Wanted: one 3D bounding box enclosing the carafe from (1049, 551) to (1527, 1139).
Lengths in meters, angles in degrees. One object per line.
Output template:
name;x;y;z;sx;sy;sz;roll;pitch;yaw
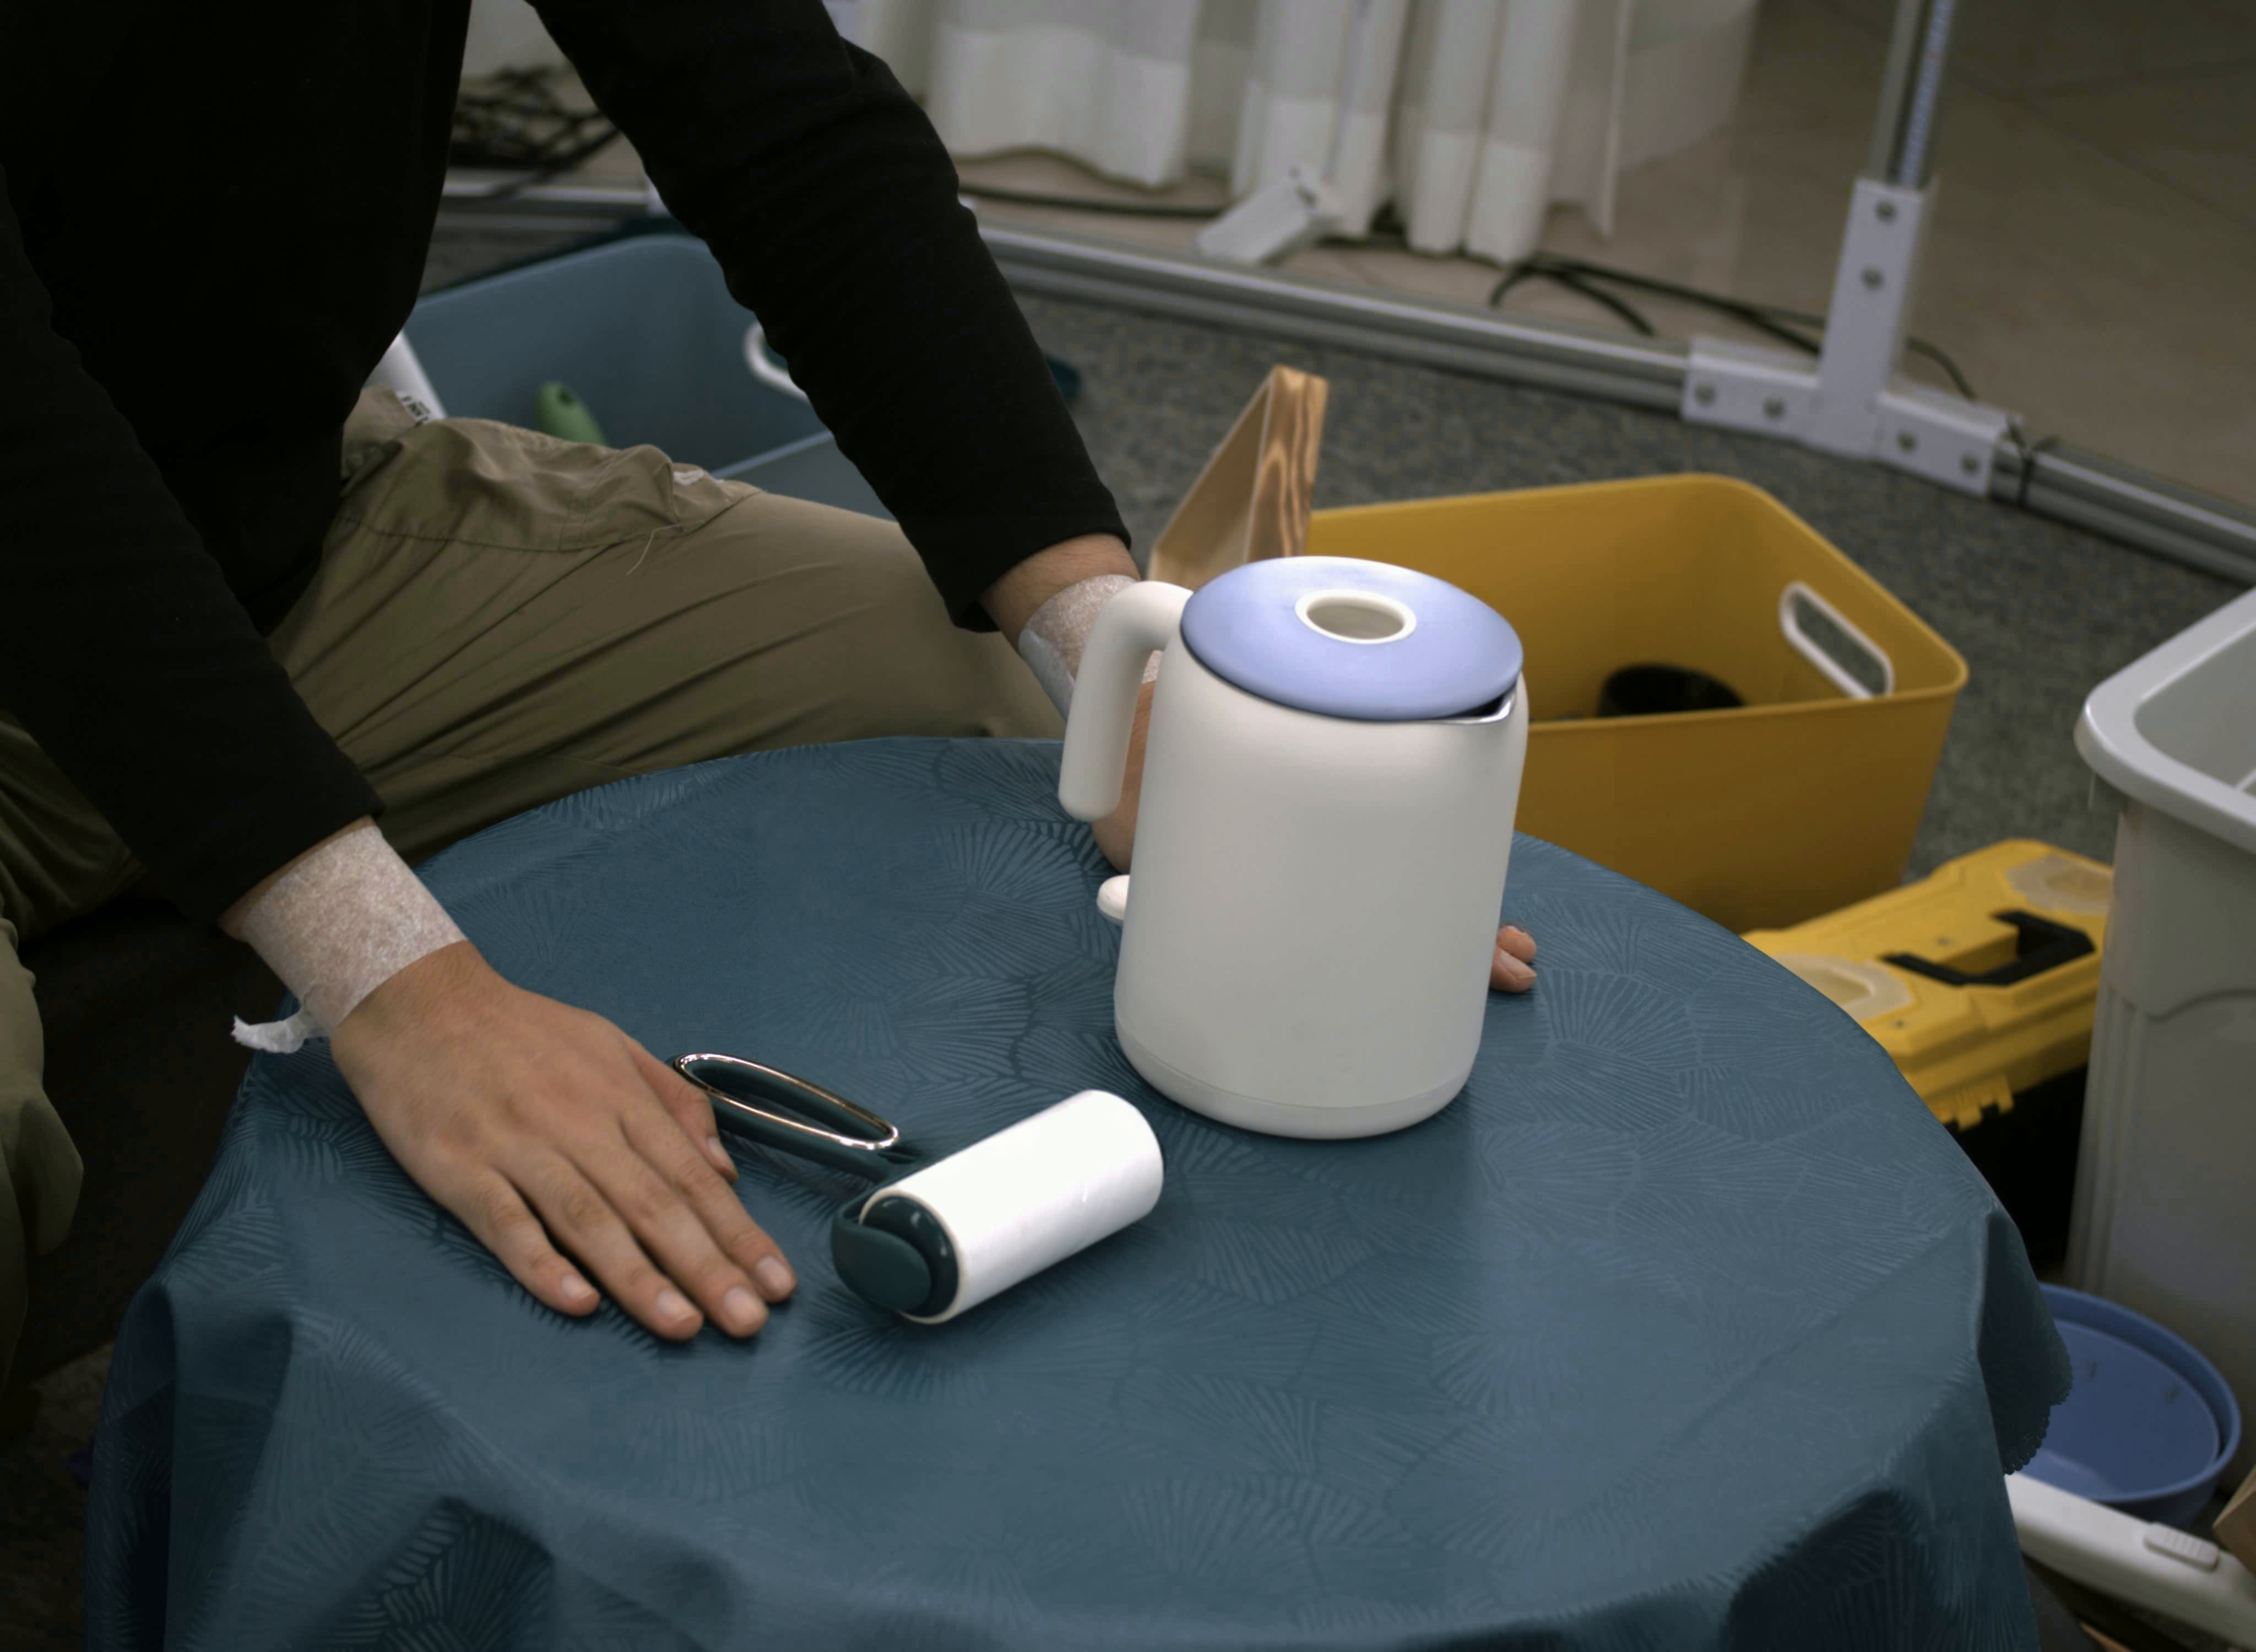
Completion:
carafe;0.049;-0.003;1.872;0.192;0.182;0.131;24;31;35

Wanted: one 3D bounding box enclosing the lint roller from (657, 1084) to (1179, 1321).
lint roller;-0.090;0.102;1.779;0.181;0.048;0.134;23;31;35
